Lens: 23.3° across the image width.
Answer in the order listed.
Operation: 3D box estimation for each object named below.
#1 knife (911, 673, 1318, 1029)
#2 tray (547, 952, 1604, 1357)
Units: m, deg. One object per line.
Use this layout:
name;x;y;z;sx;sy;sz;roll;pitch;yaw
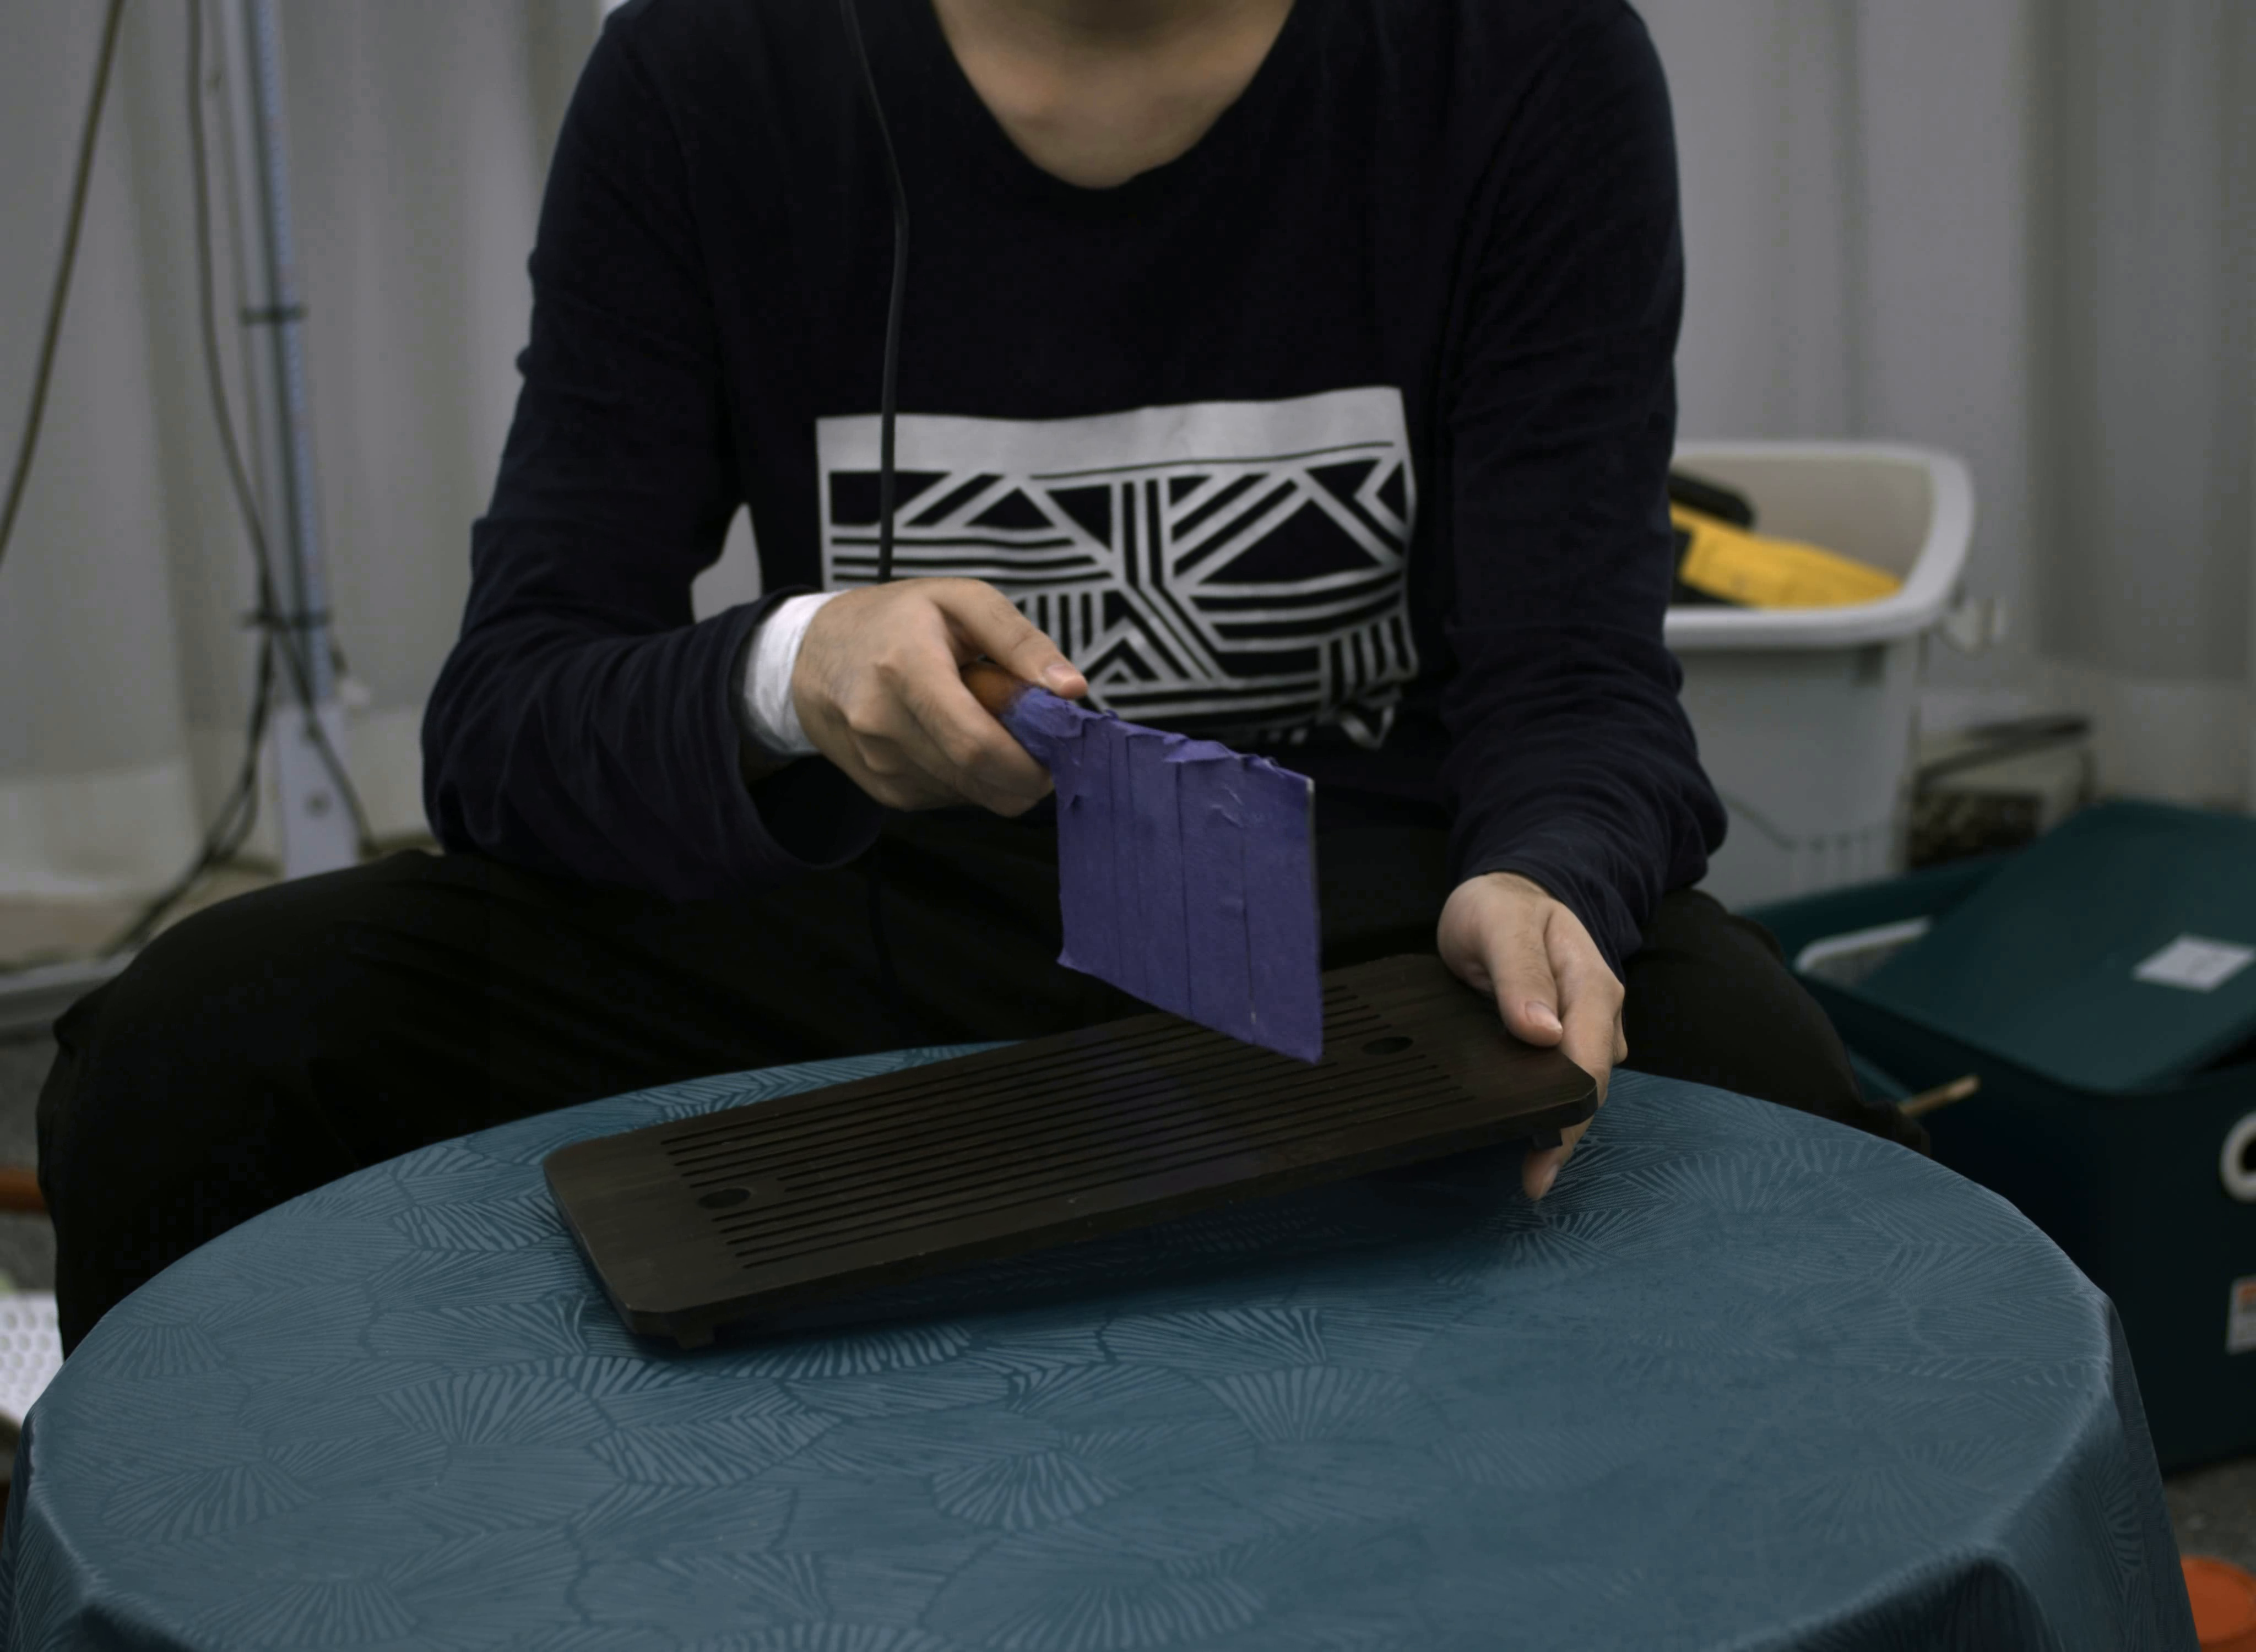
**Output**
knife;-0.008;0.007;1.765;0.032;0.104;0.317;-4;8;-20
tray;-0.019;0.100;1.689;0.305;0.018;0.171;-12;17;-13
